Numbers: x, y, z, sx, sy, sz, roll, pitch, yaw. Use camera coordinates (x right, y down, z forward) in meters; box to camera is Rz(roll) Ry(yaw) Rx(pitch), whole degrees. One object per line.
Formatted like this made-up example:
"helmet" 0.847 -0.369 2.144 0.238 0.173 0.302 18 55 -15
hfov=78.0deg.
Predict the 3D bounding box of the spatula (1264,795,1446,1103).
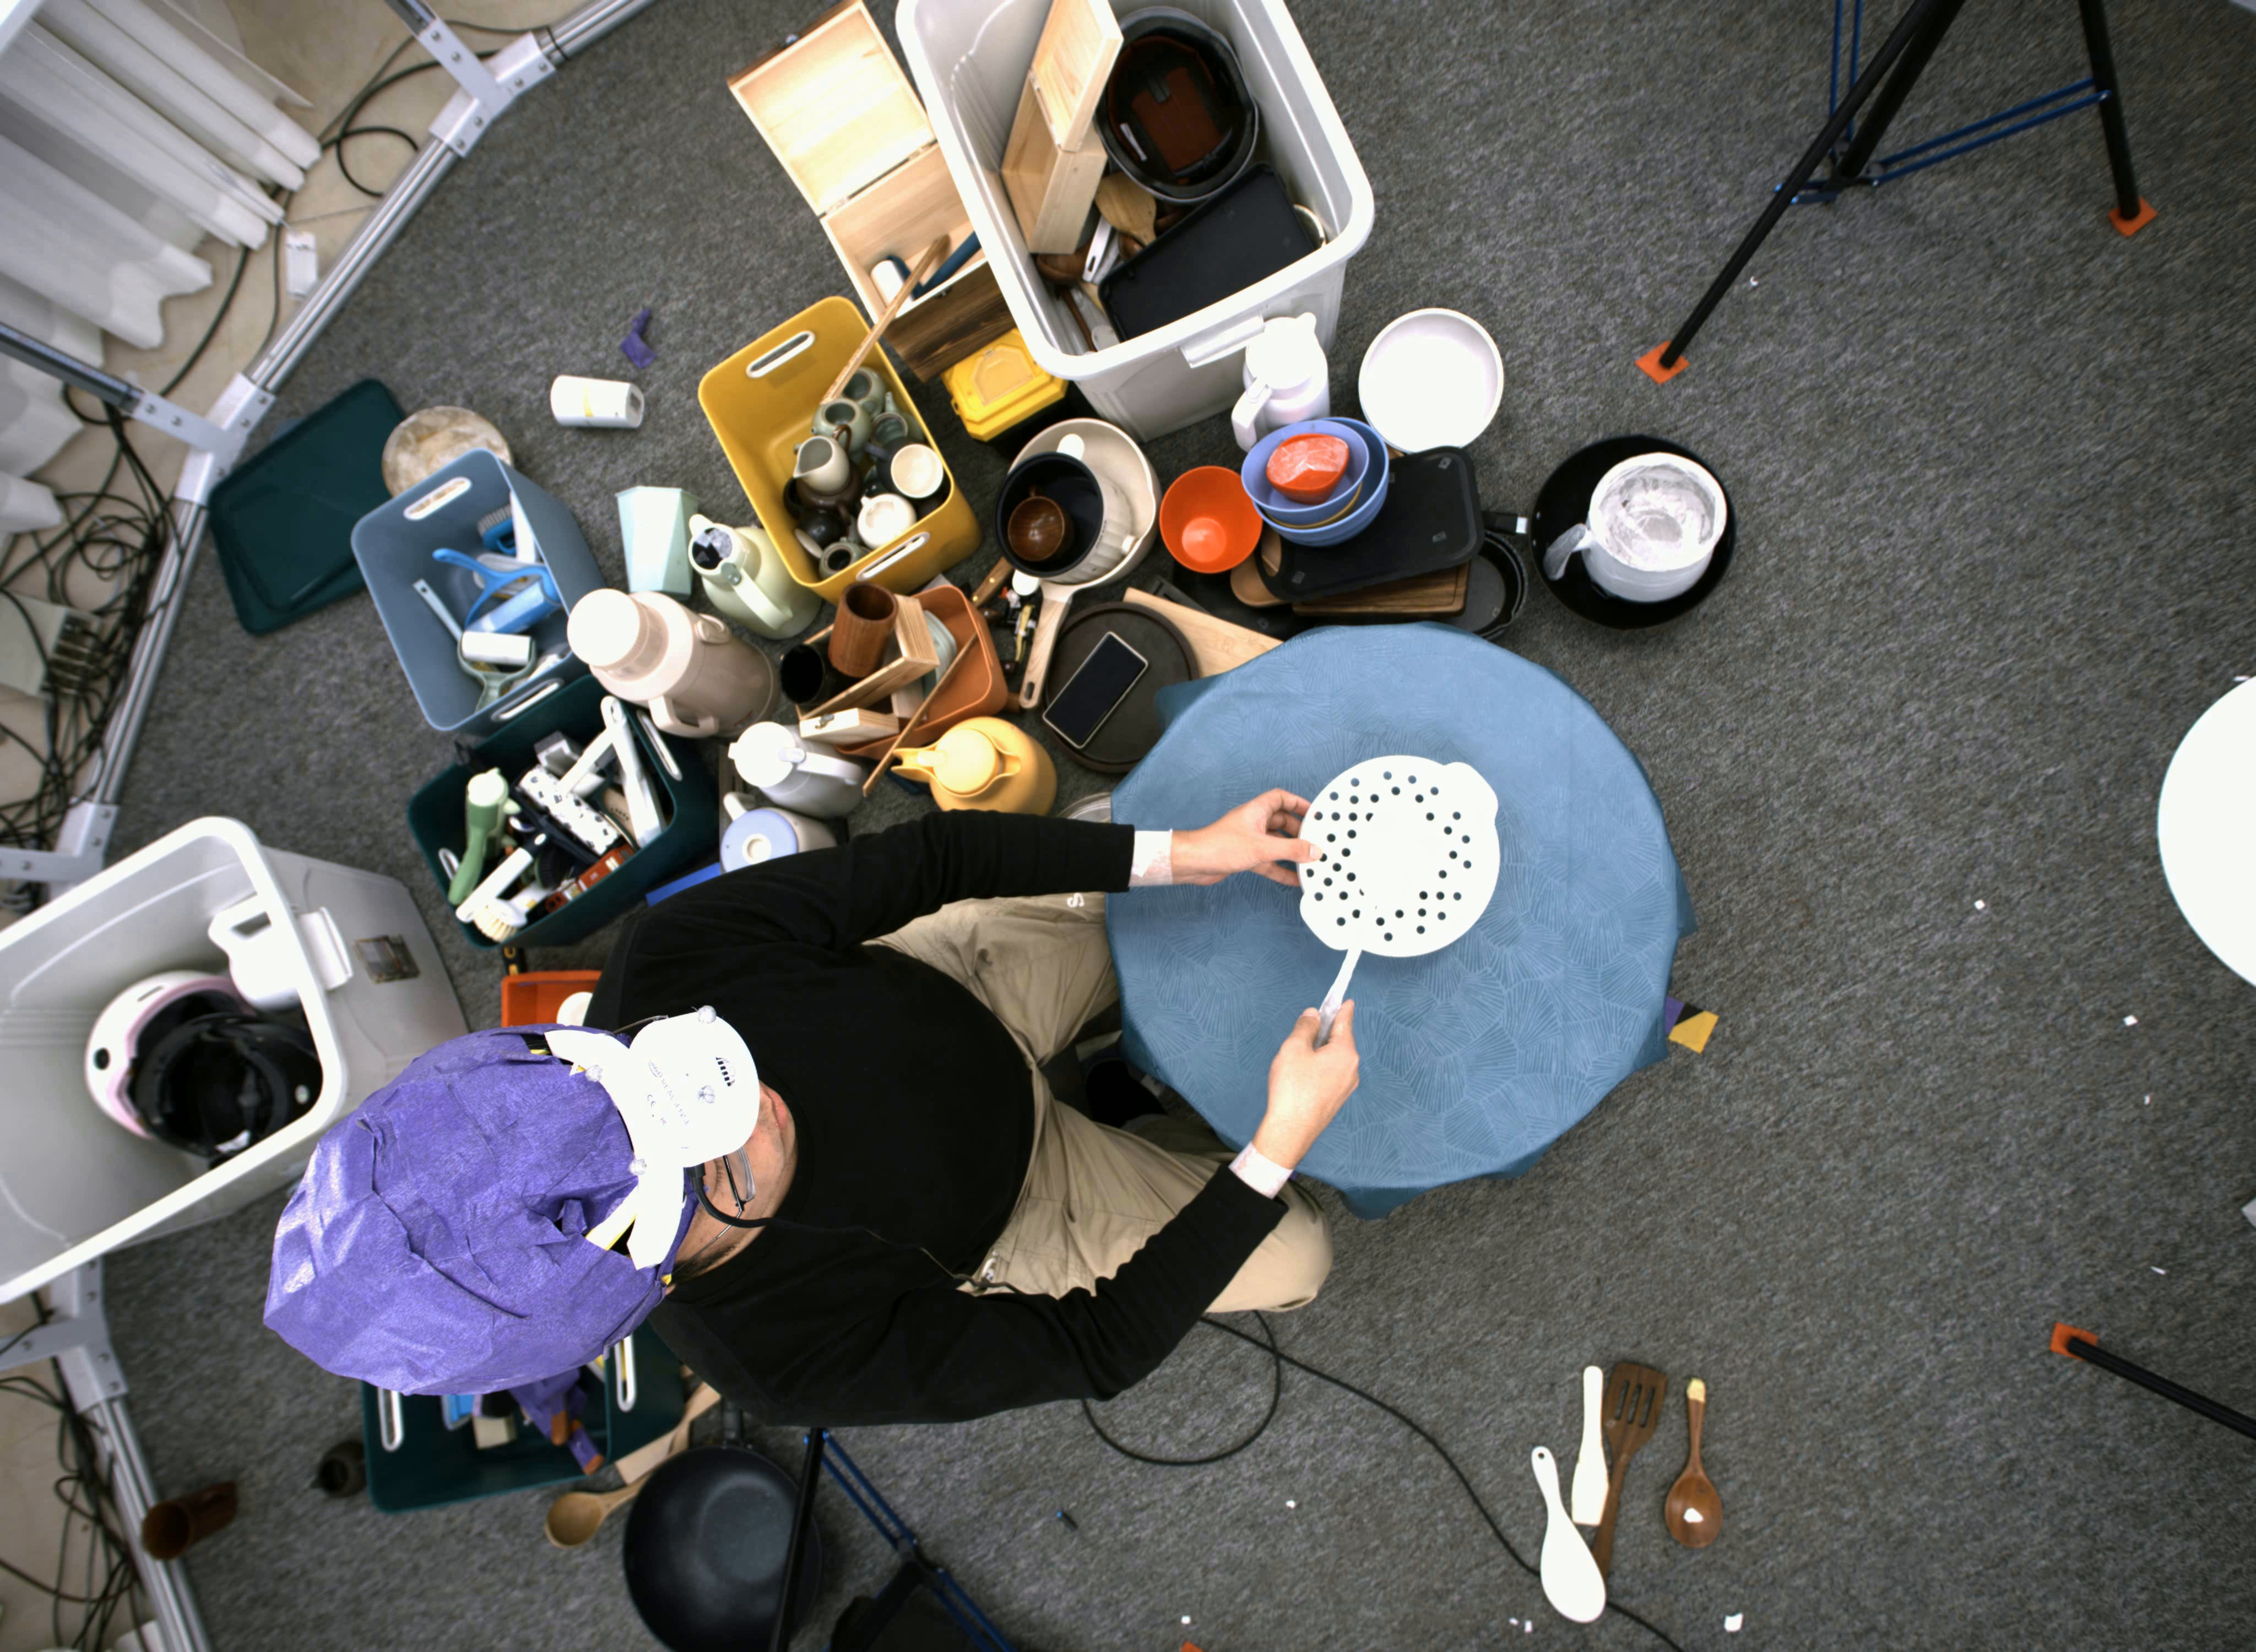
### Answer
"spatula" 0.218 0.122 1.339 0.099 0.045 0.356 44 55 -20

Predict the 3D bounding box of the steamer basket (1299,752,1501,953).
"steamer basket" 0.273 0.026 1.403 0.230 0.069 0.202 -41 90 0
